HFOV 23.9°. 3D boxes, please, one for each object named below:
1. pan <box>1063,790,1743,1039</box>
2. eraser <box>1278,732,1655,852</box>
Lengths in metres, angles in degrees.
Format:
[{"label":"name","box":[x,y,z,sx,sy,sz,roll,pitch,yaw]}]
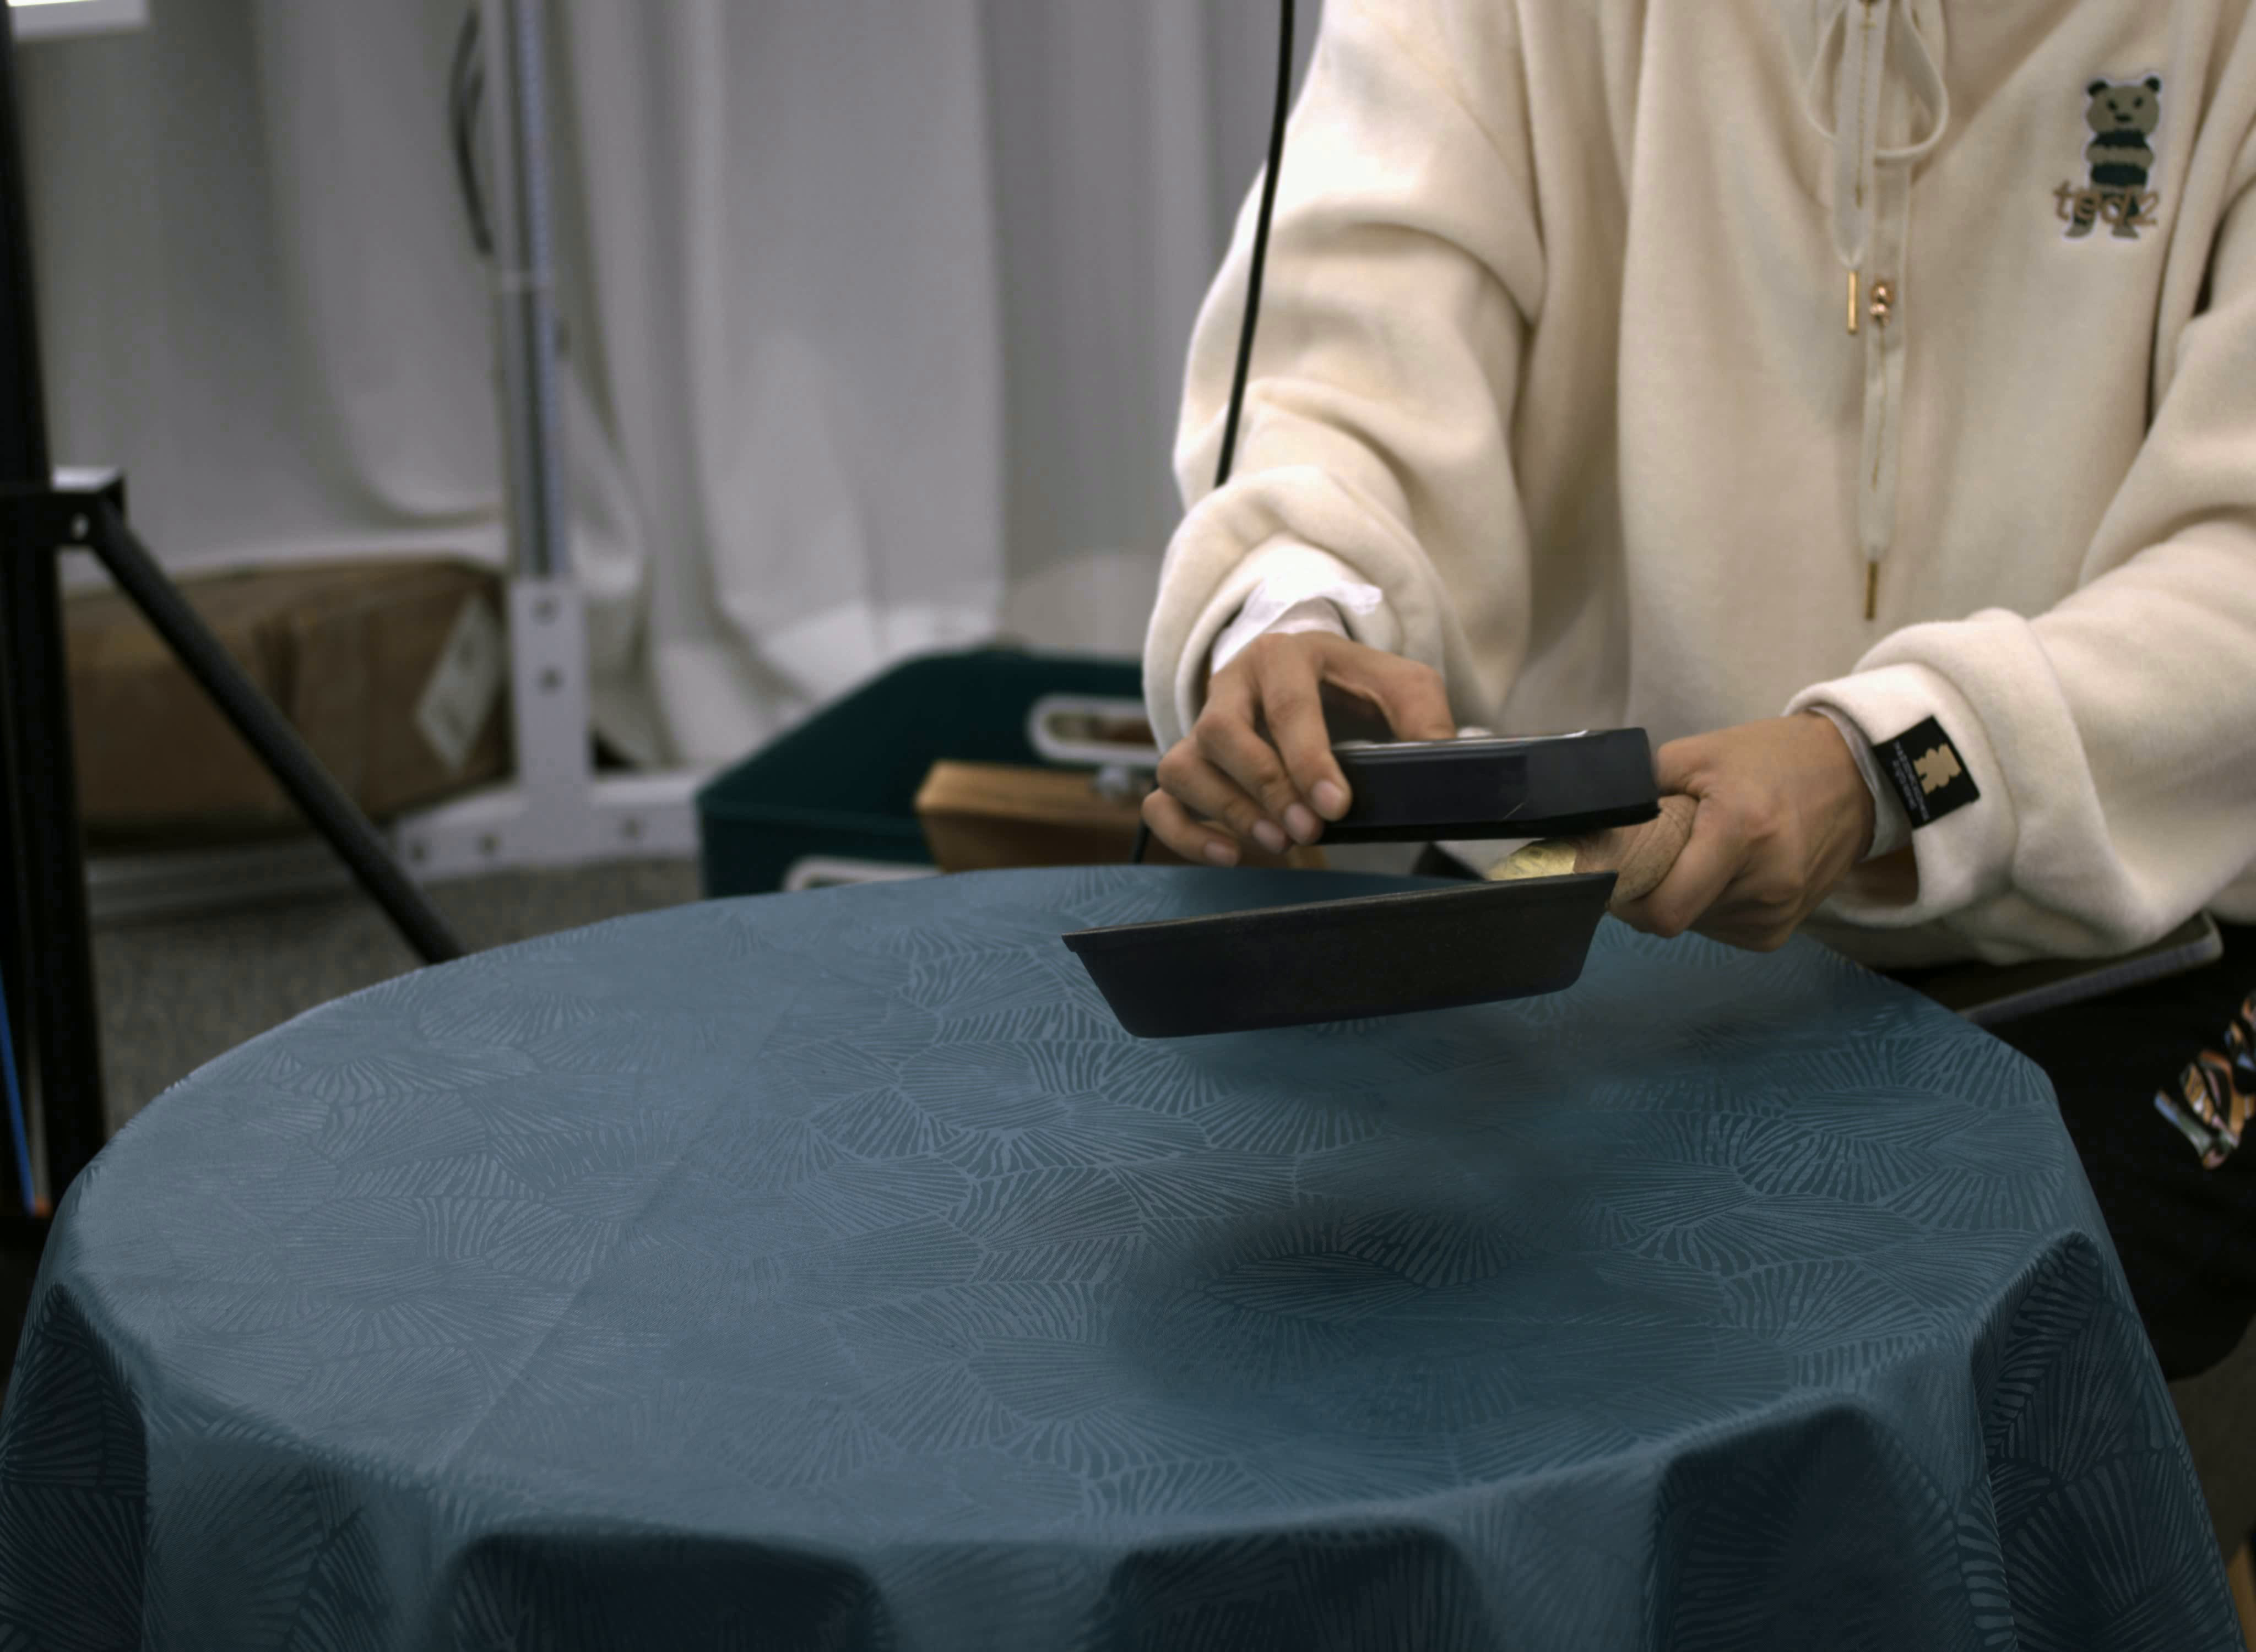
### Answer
[{"label":"pan","box":[0.107,0.024,1.554,0.172,0.050,0.316,-8,-1,35]},{"label":"eraser","box":[0.104,-0.010,1.631,0.052,0.030,0.128,-6,1,-34]}]
